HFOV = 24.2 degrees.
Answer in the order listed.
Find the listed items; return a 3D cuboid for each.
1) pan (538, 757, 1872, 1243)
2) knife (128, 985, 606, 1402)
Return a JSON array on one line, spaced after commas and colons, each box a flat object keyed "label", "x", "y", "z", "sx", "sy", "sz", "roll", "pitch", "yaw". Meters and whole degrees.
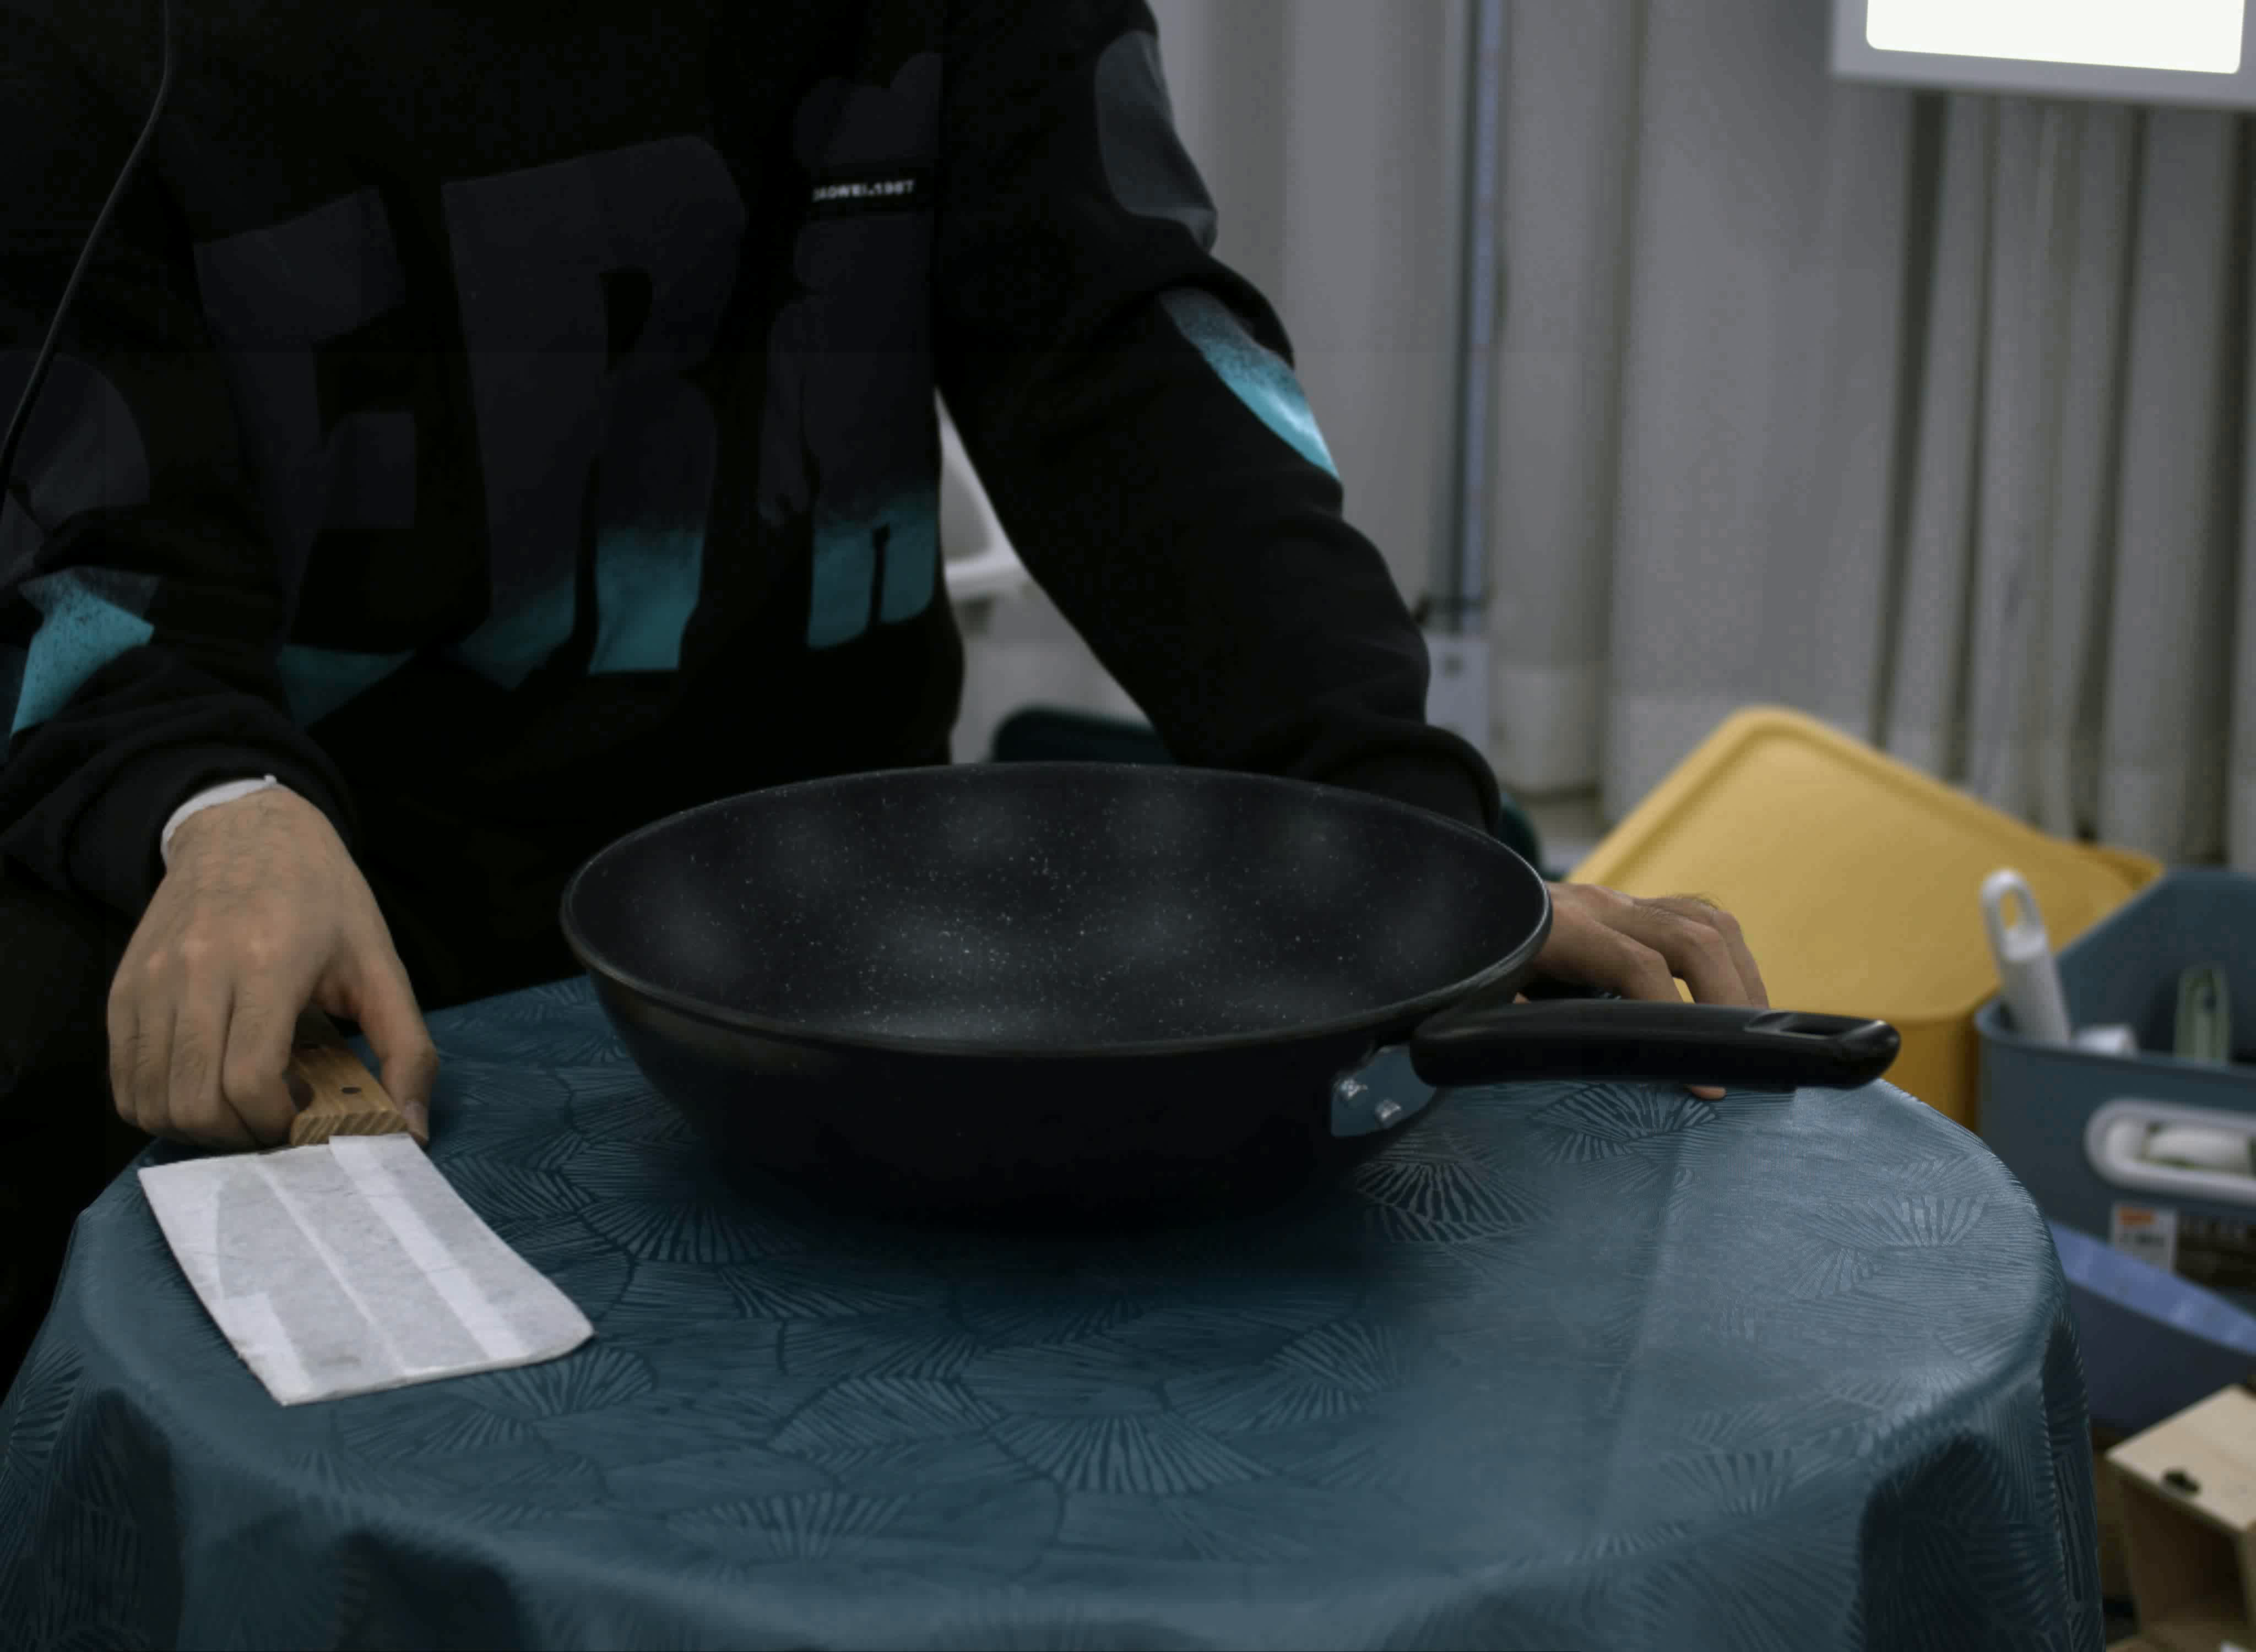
[{"label": "pan", "x": 0.030, "y": 0.066, "z": 1.592, "sx": 0.470, "sy": 0.112, "sz": 0.311, "roll": 15, "pitch": 23, "yaw": 42}, {"label": "knife", "x": -0.243, "y": 0.108, "z": 1.597, "sx": 0.114, "sy": 0.022, "sz": 0.312, "roll": -5, "pitch": 19, "yaw": -19}]
